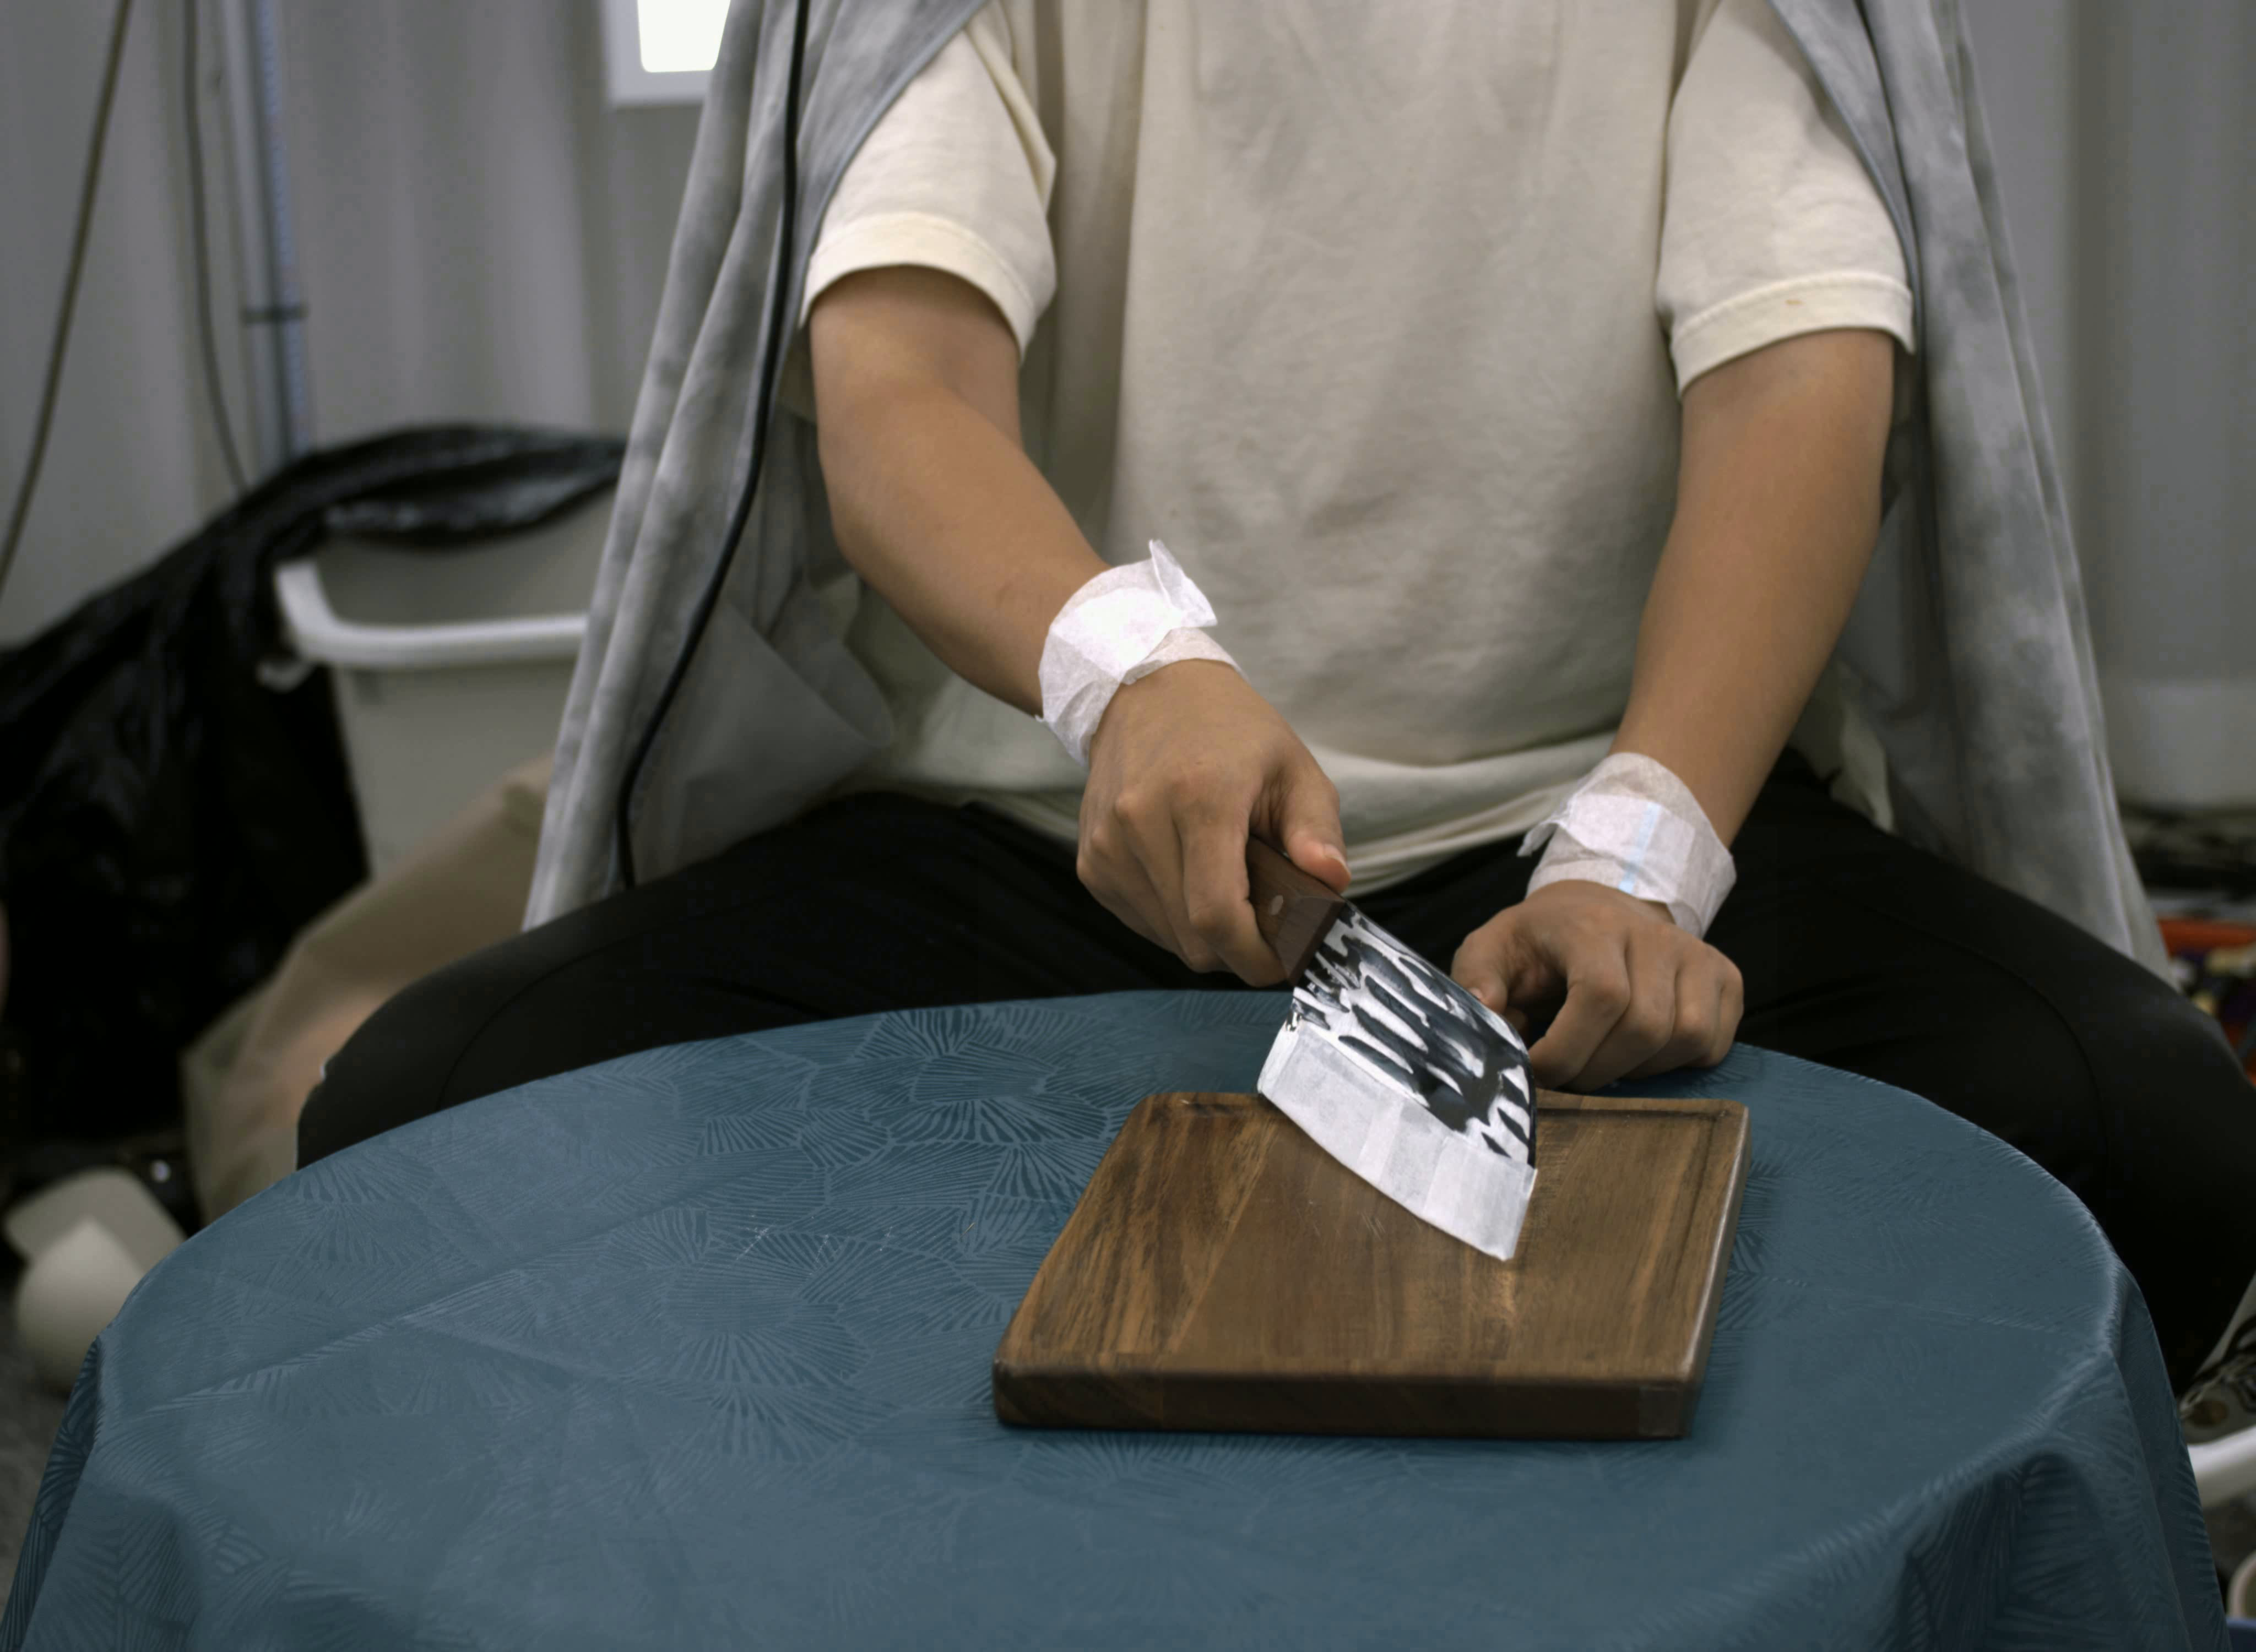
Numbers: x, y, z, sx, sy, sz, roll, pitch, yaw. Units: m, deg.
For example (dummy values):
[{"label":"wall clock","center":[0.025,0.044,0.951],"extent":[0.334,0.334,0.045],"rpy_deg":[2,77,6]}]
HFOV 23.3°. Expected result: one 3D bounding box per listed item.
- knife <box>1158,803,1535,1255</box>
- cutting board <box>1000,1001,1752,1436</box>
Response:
[{"label":"knife","center":[0.065,0.060,1.715],"extent":[0.024,0.068,0.302],"rpy_deg":[24,7,-27]},{"label":"cutting board","center":[0.088,0.113,1.668],"extent":[0.201,0.023,0.354],"rpy_deg":[0,15,11]}]
